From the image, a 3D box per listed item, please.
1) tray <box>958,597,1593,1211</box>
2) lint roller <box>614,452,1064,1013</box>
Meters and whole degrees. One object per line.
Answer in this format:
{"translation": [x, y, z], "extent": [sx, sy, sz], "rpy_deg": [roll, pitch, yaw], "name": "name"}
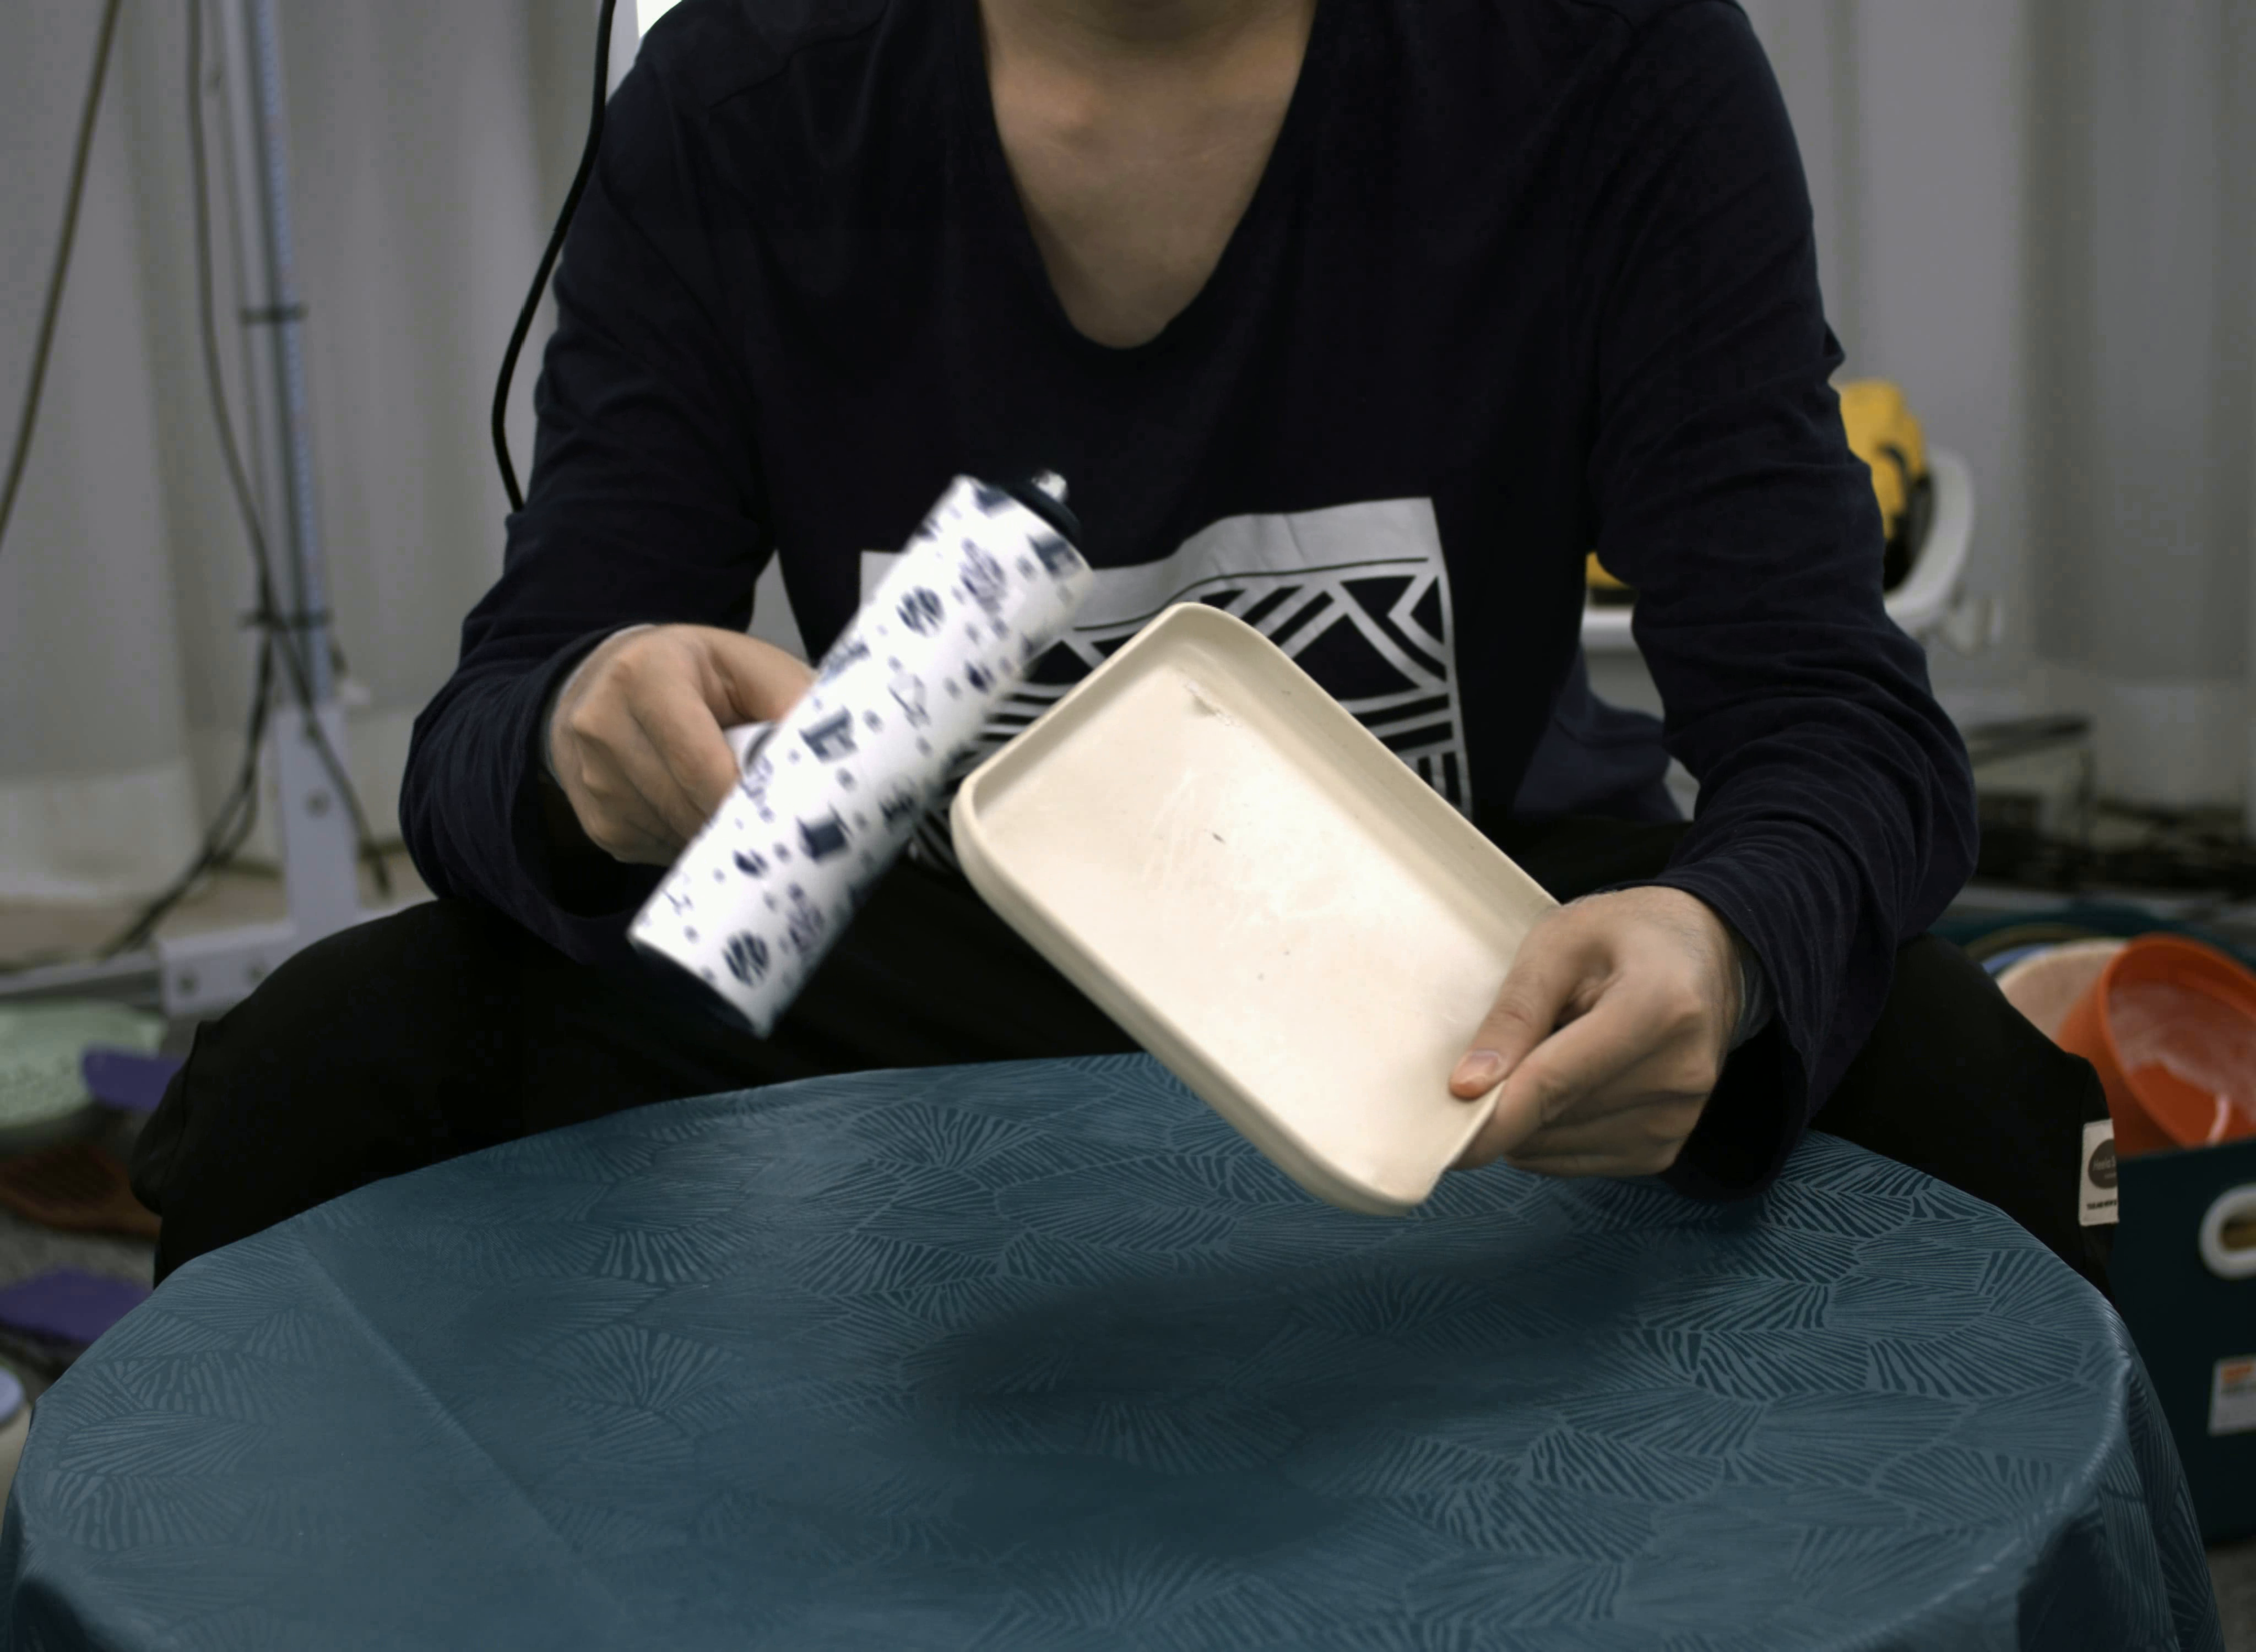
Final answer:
{"translation": [0.044, 0.020, 1.559], "extent": [0.171, 0.017, 0.240], "rpy_deg": [42, 25, 3], "name": "tray"}
{"translation": [-0.108, -0.021, 1.613], "extent": [0.050, 0.177, 0.247], "rpy_deg": [36, -13, -12], "name": "lint roller"}
